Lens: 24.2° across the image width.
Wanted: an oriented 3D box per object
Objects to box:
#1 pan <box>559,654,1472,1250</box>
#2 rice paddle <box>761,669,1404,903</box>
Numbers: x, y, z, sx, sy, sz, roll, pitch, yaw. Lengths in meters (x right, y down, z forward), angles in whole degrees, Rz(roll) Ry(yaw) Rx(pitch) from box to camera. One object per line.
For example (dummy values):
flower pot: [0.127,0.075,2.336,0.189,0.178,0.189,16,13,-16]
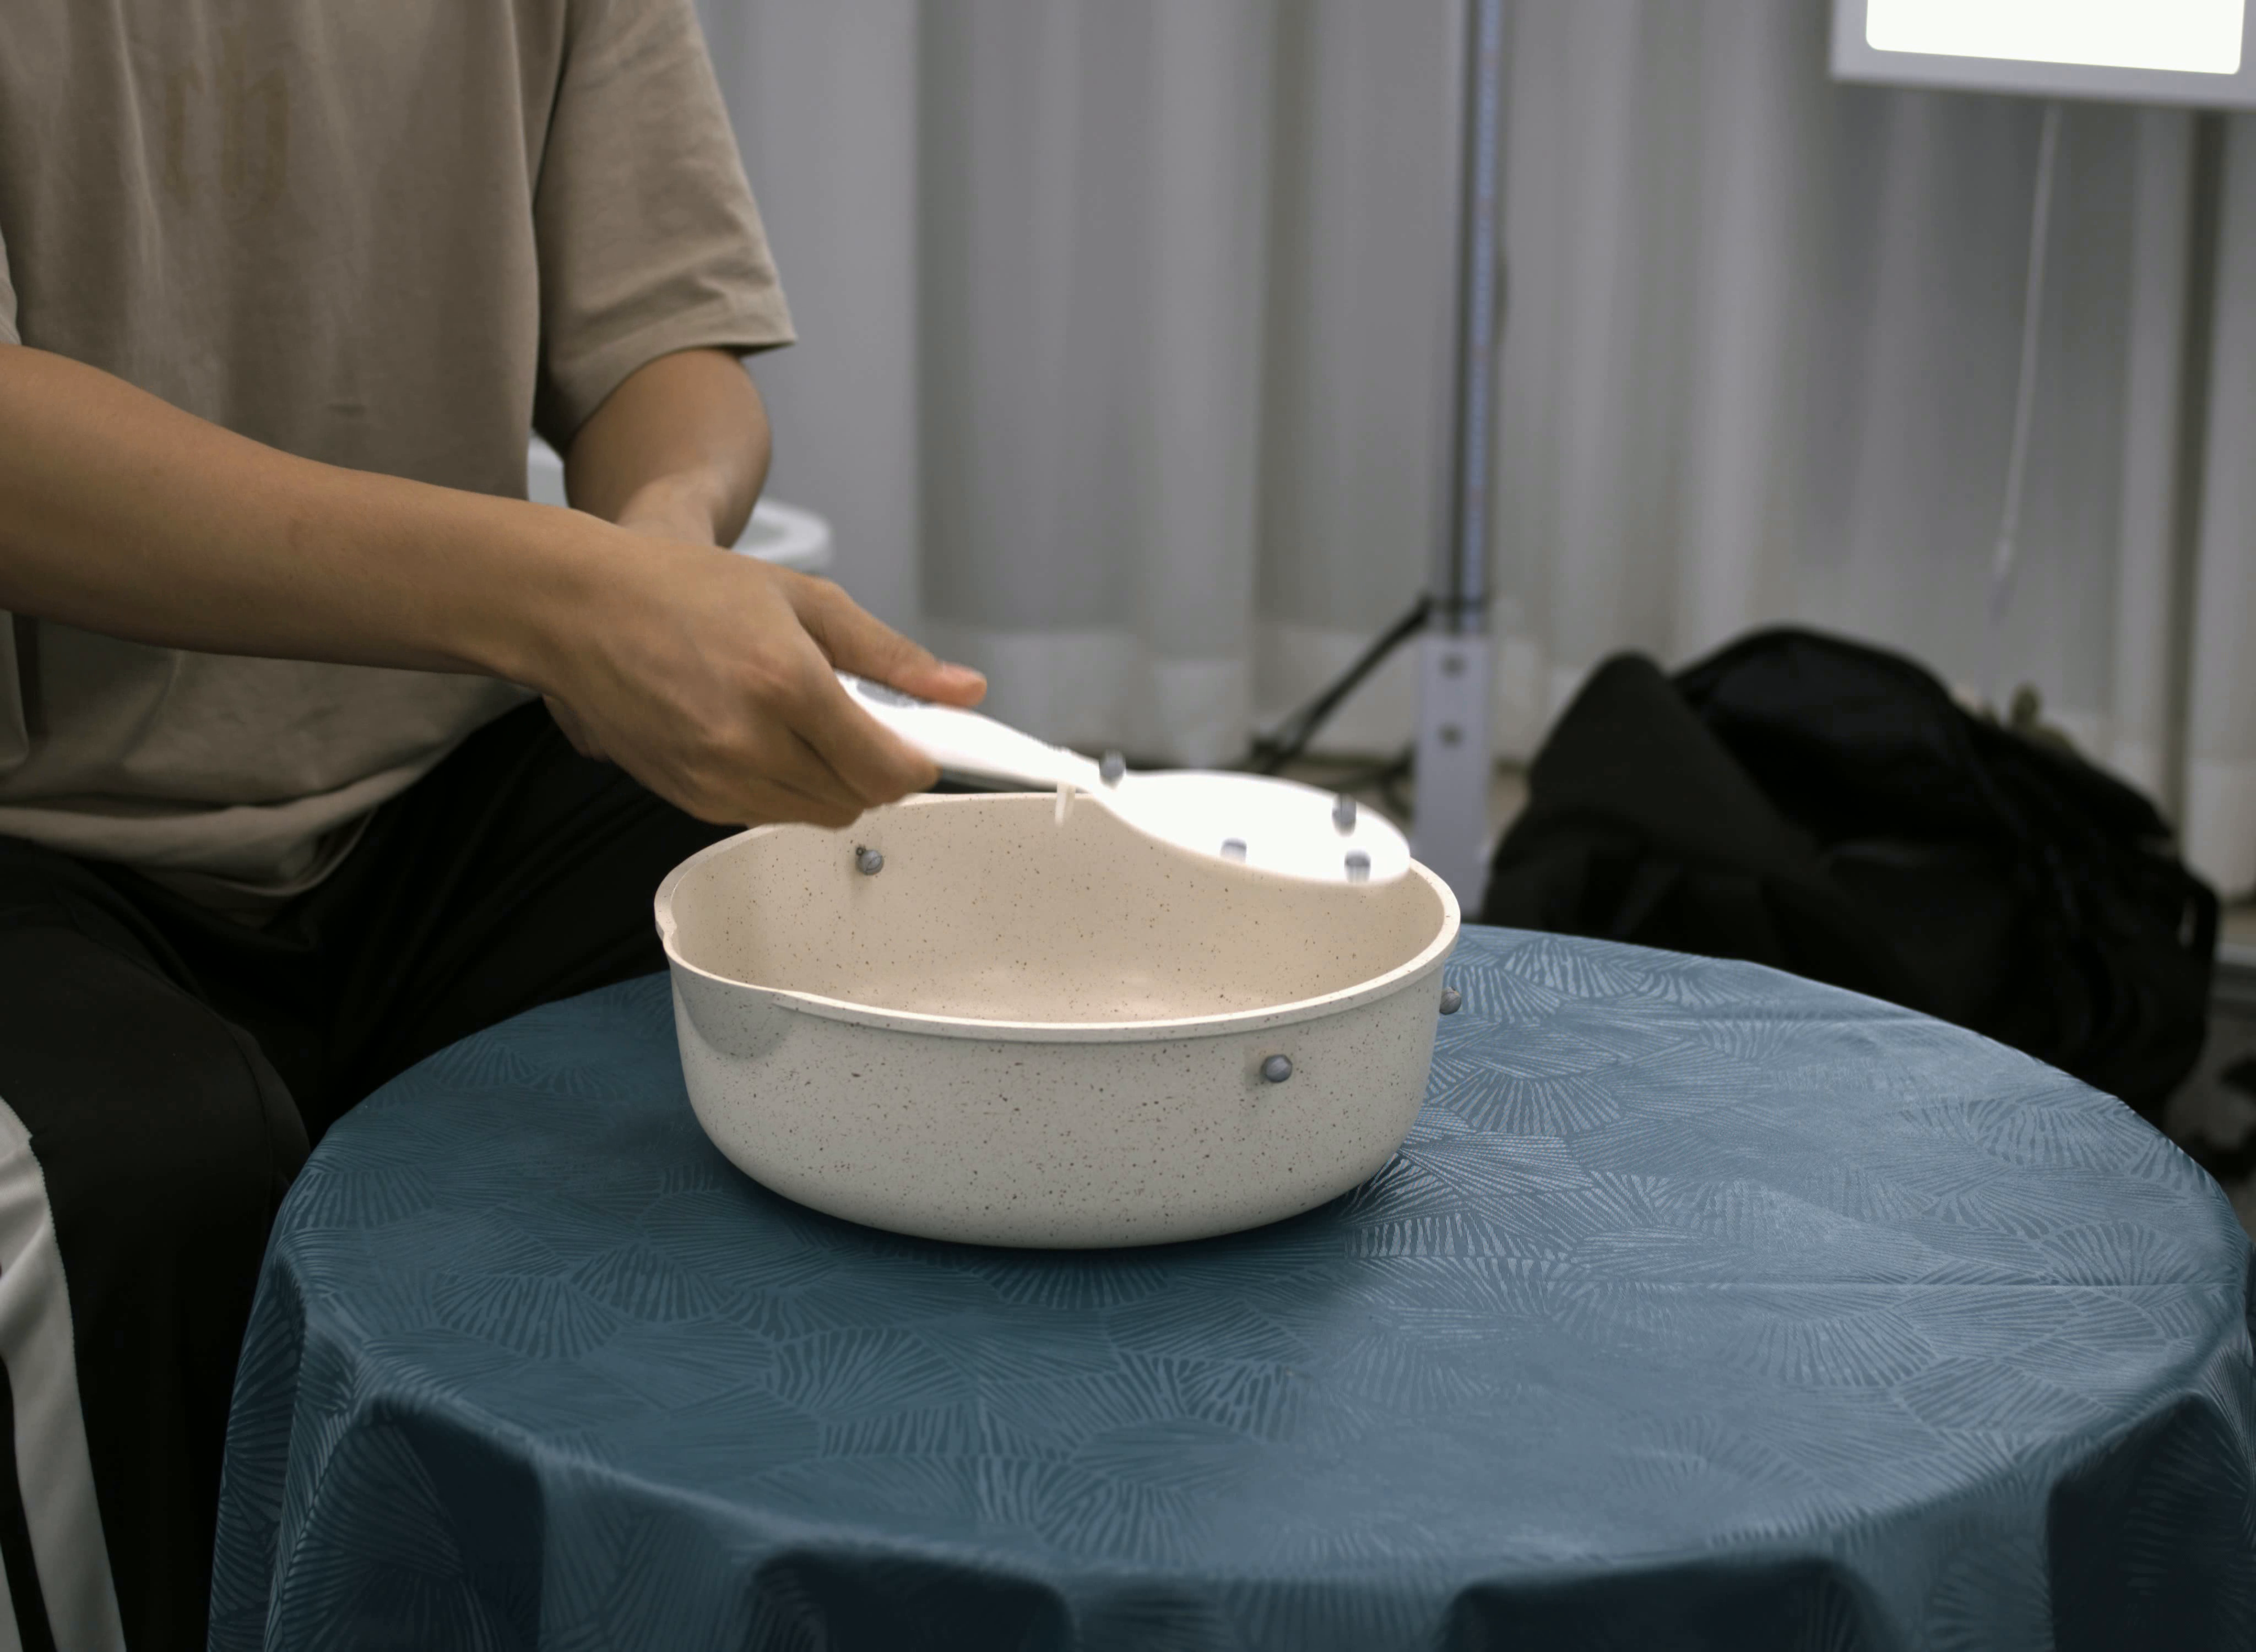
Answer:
pan: [-0.069,0.035,1.722,0.264,0.103,0.429,-12,20,-32]
rice paddle: [-0.013,-0.010,1.627,0.204,0.029,0.068,15,25,9]
